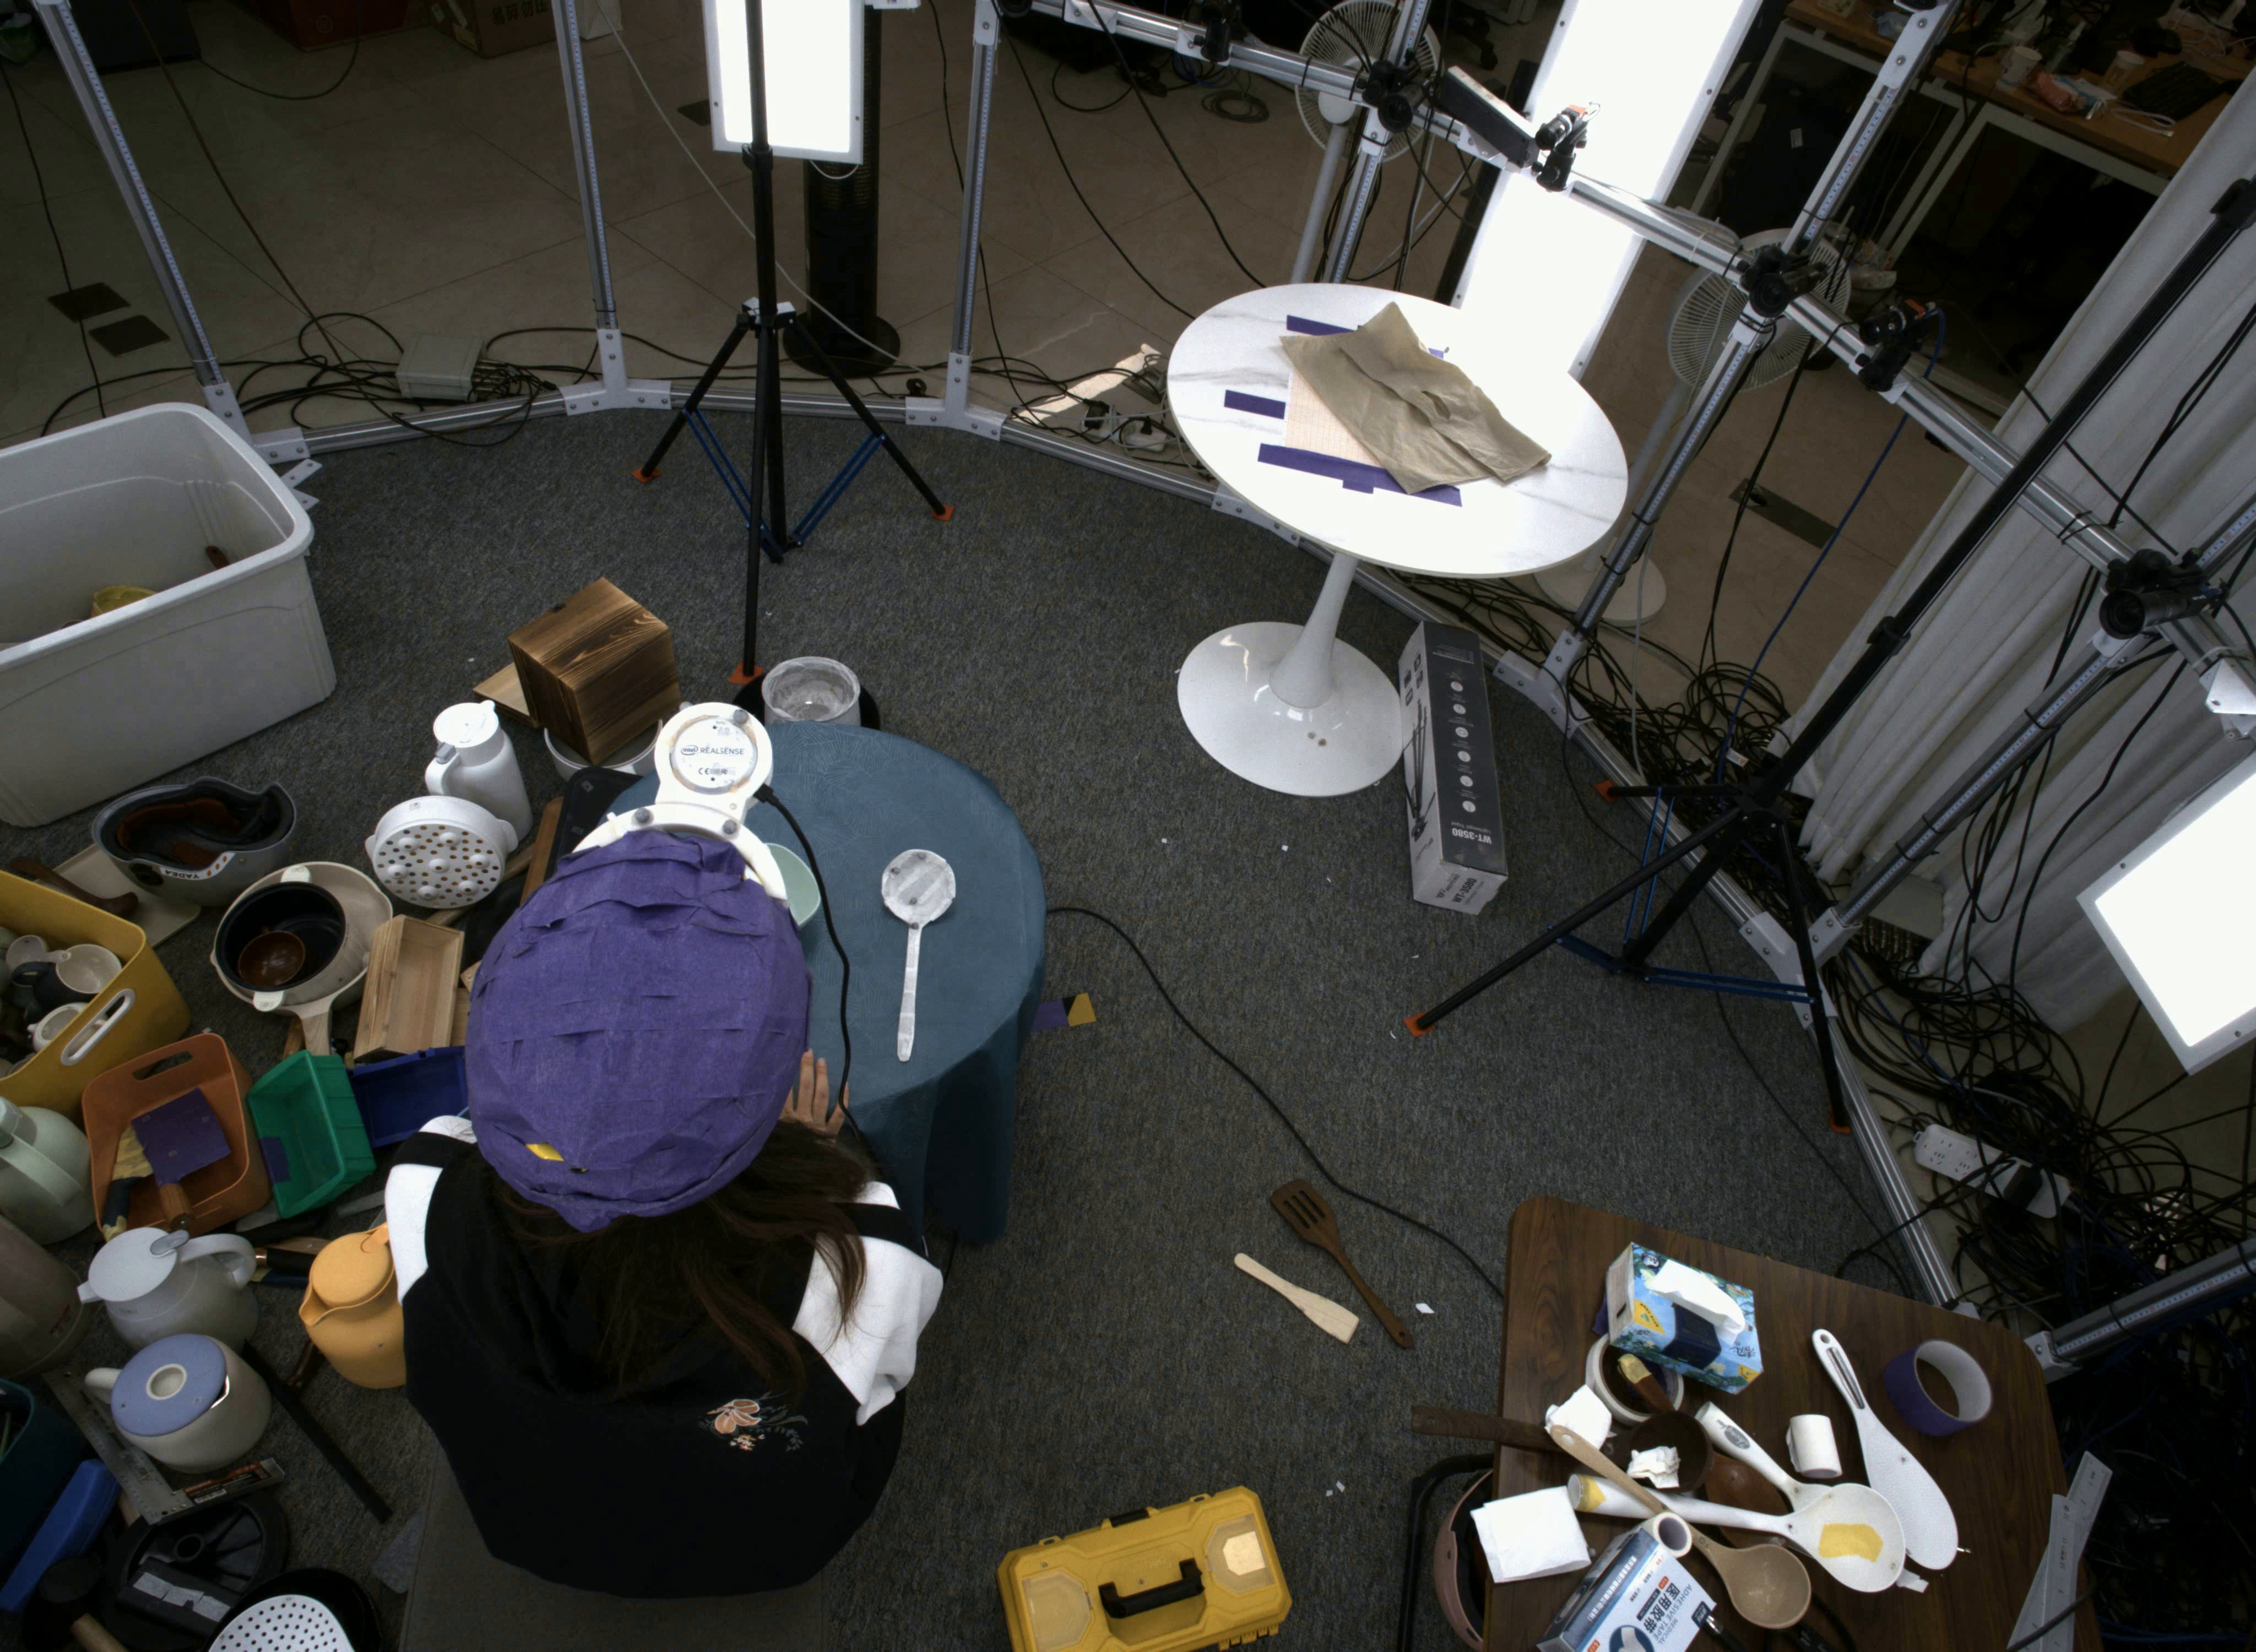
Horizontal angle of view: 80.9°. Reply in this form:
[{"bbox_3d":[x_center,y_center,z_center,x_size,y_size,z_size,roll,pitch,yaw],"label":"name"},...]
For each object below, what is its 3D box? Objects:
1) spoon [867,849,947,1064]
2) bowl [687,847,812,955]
[{"bbox_3d":[-0.284,0.154,1.604,0.100,0.061,0.272,5,53,-5],"label":"spoon"},{"bbox_3d":[-0.466,0.101,1.598,0.151,0.060,0.149,8,52,-9],"label":"bowl"}]
